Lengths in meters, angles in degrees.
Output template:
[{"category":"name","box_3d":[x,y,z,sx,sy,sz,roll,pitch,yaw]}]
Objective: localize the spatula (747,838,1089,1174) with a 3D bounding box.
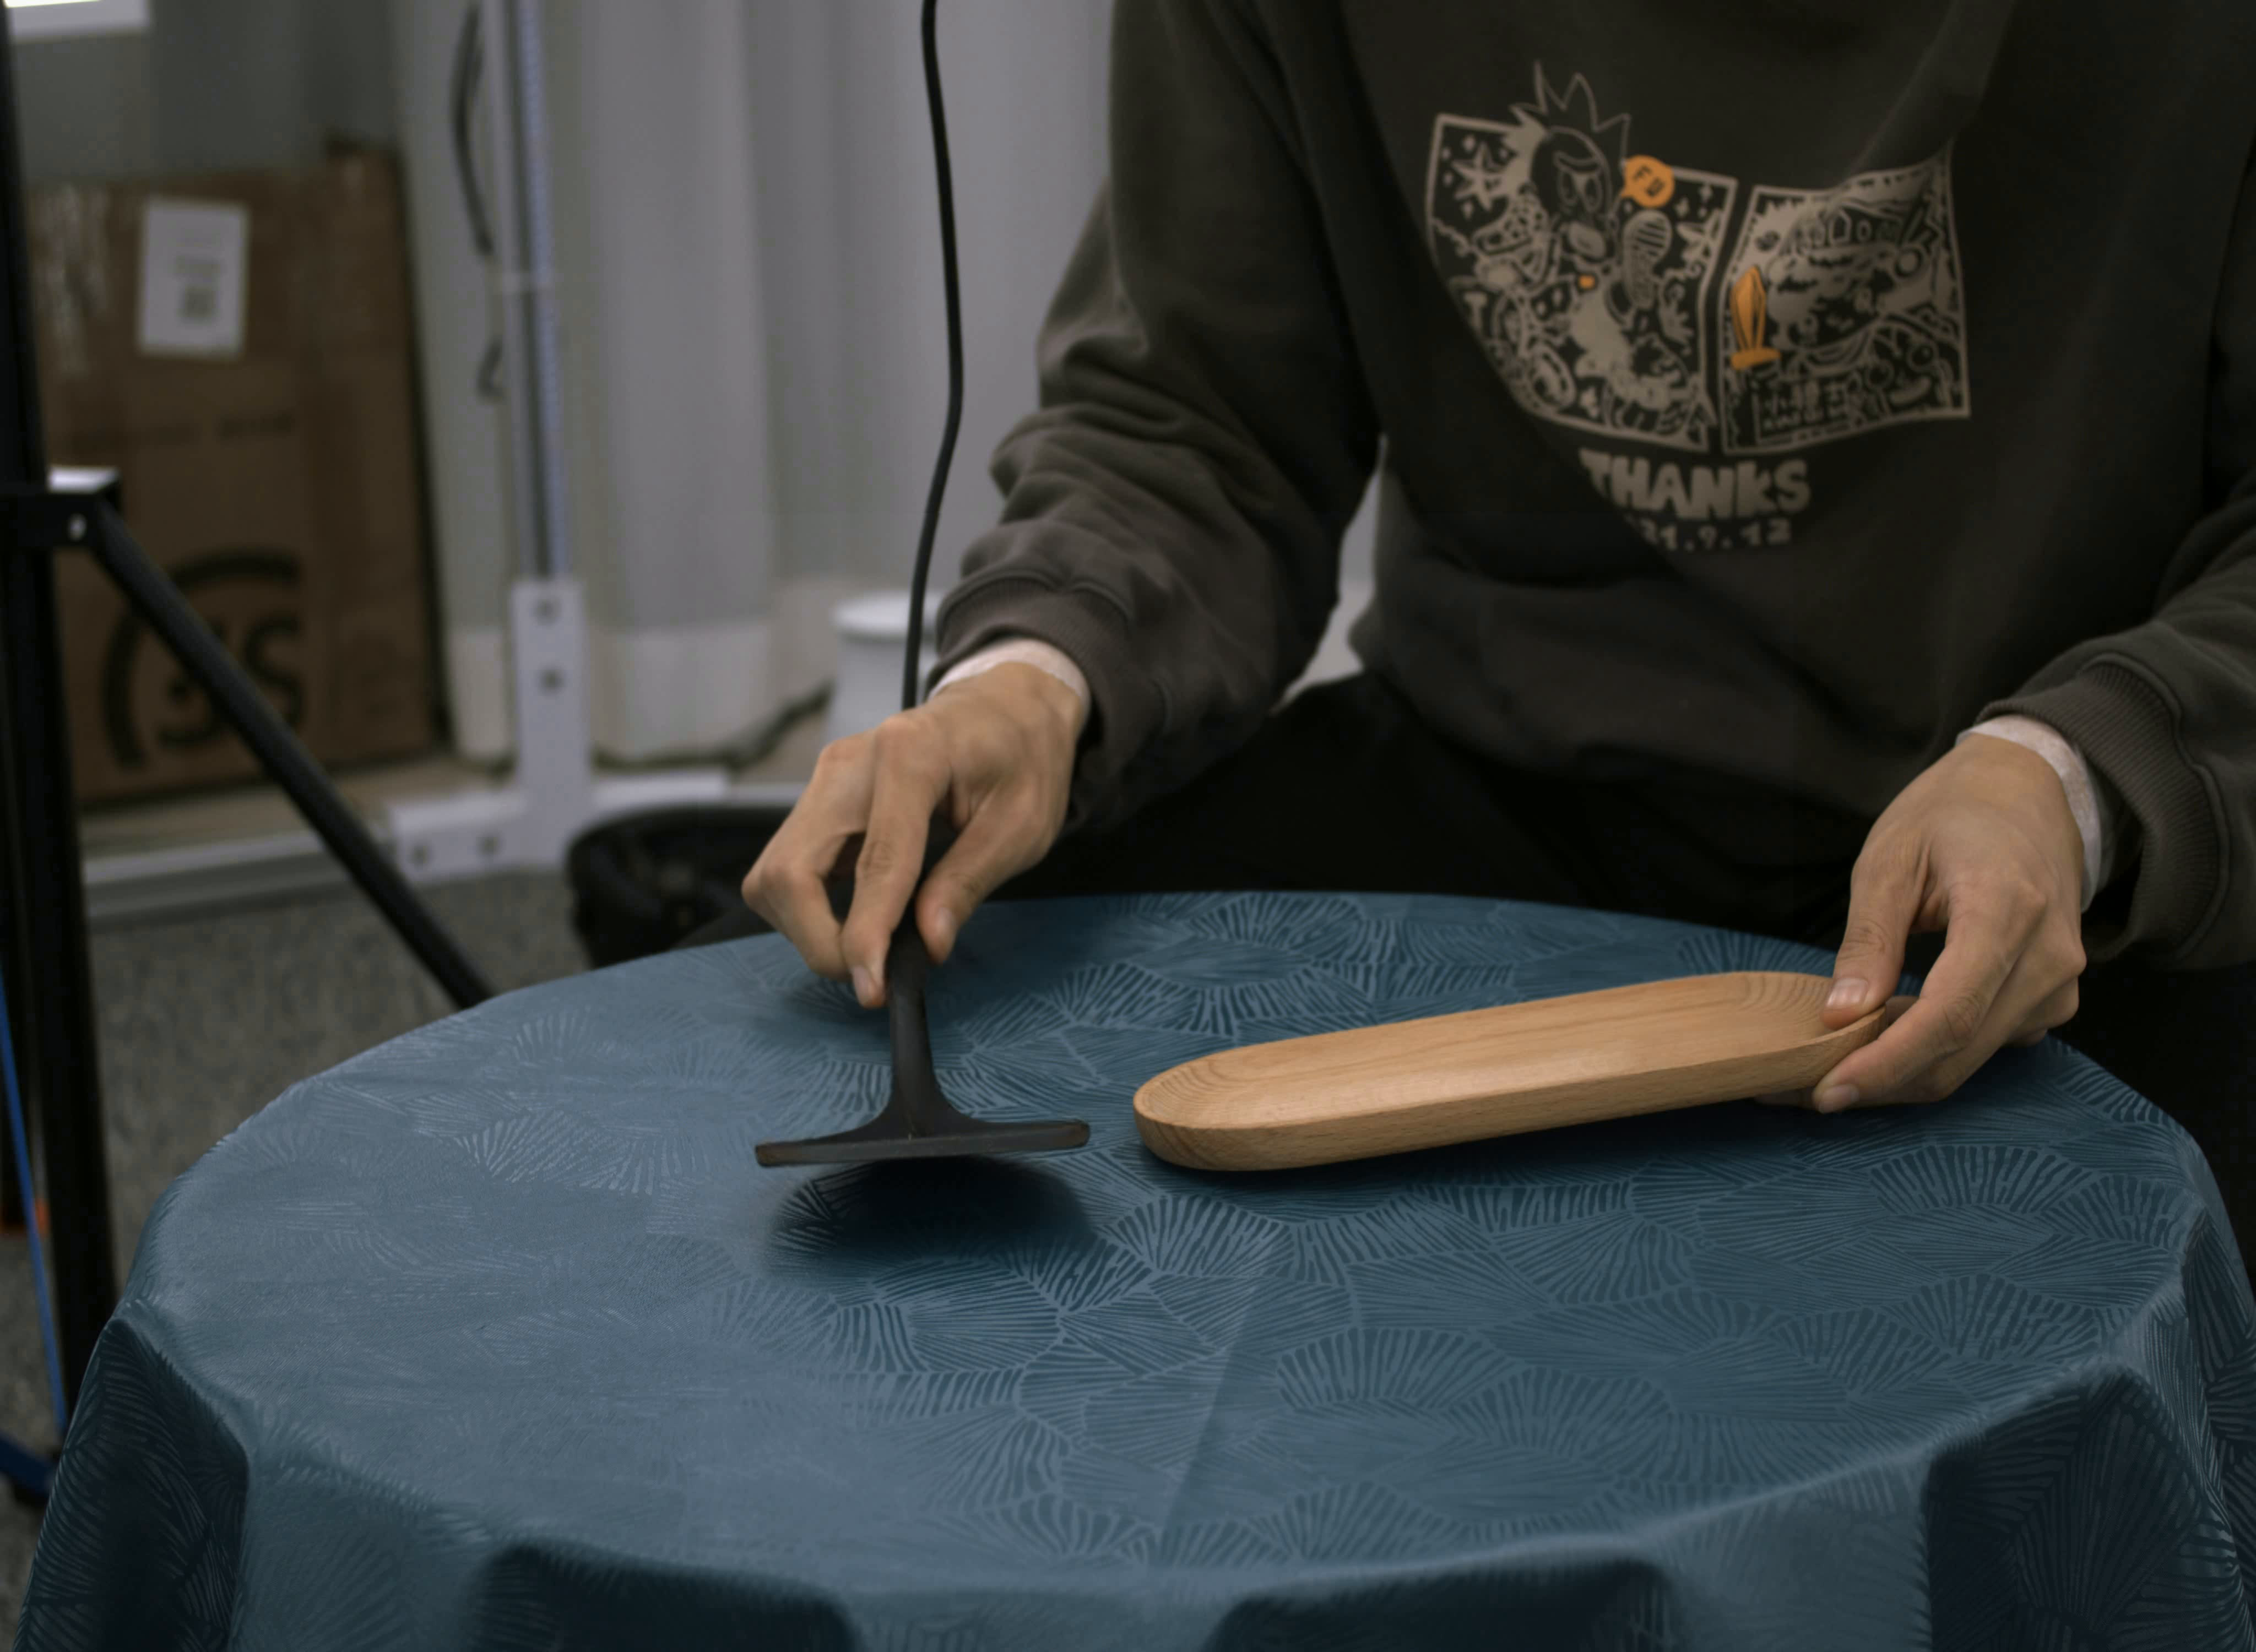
[{"category":"spatula","box_3d":[-0.071,0.053,1.673,0.099,0.040,0.329,-3,22,-3]}]

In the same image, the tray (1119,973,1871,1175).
[{"category":"tray","box_3d":[0.112,0.075,1.603,0.229,0.020,0.102,-10,12,-6]}]
